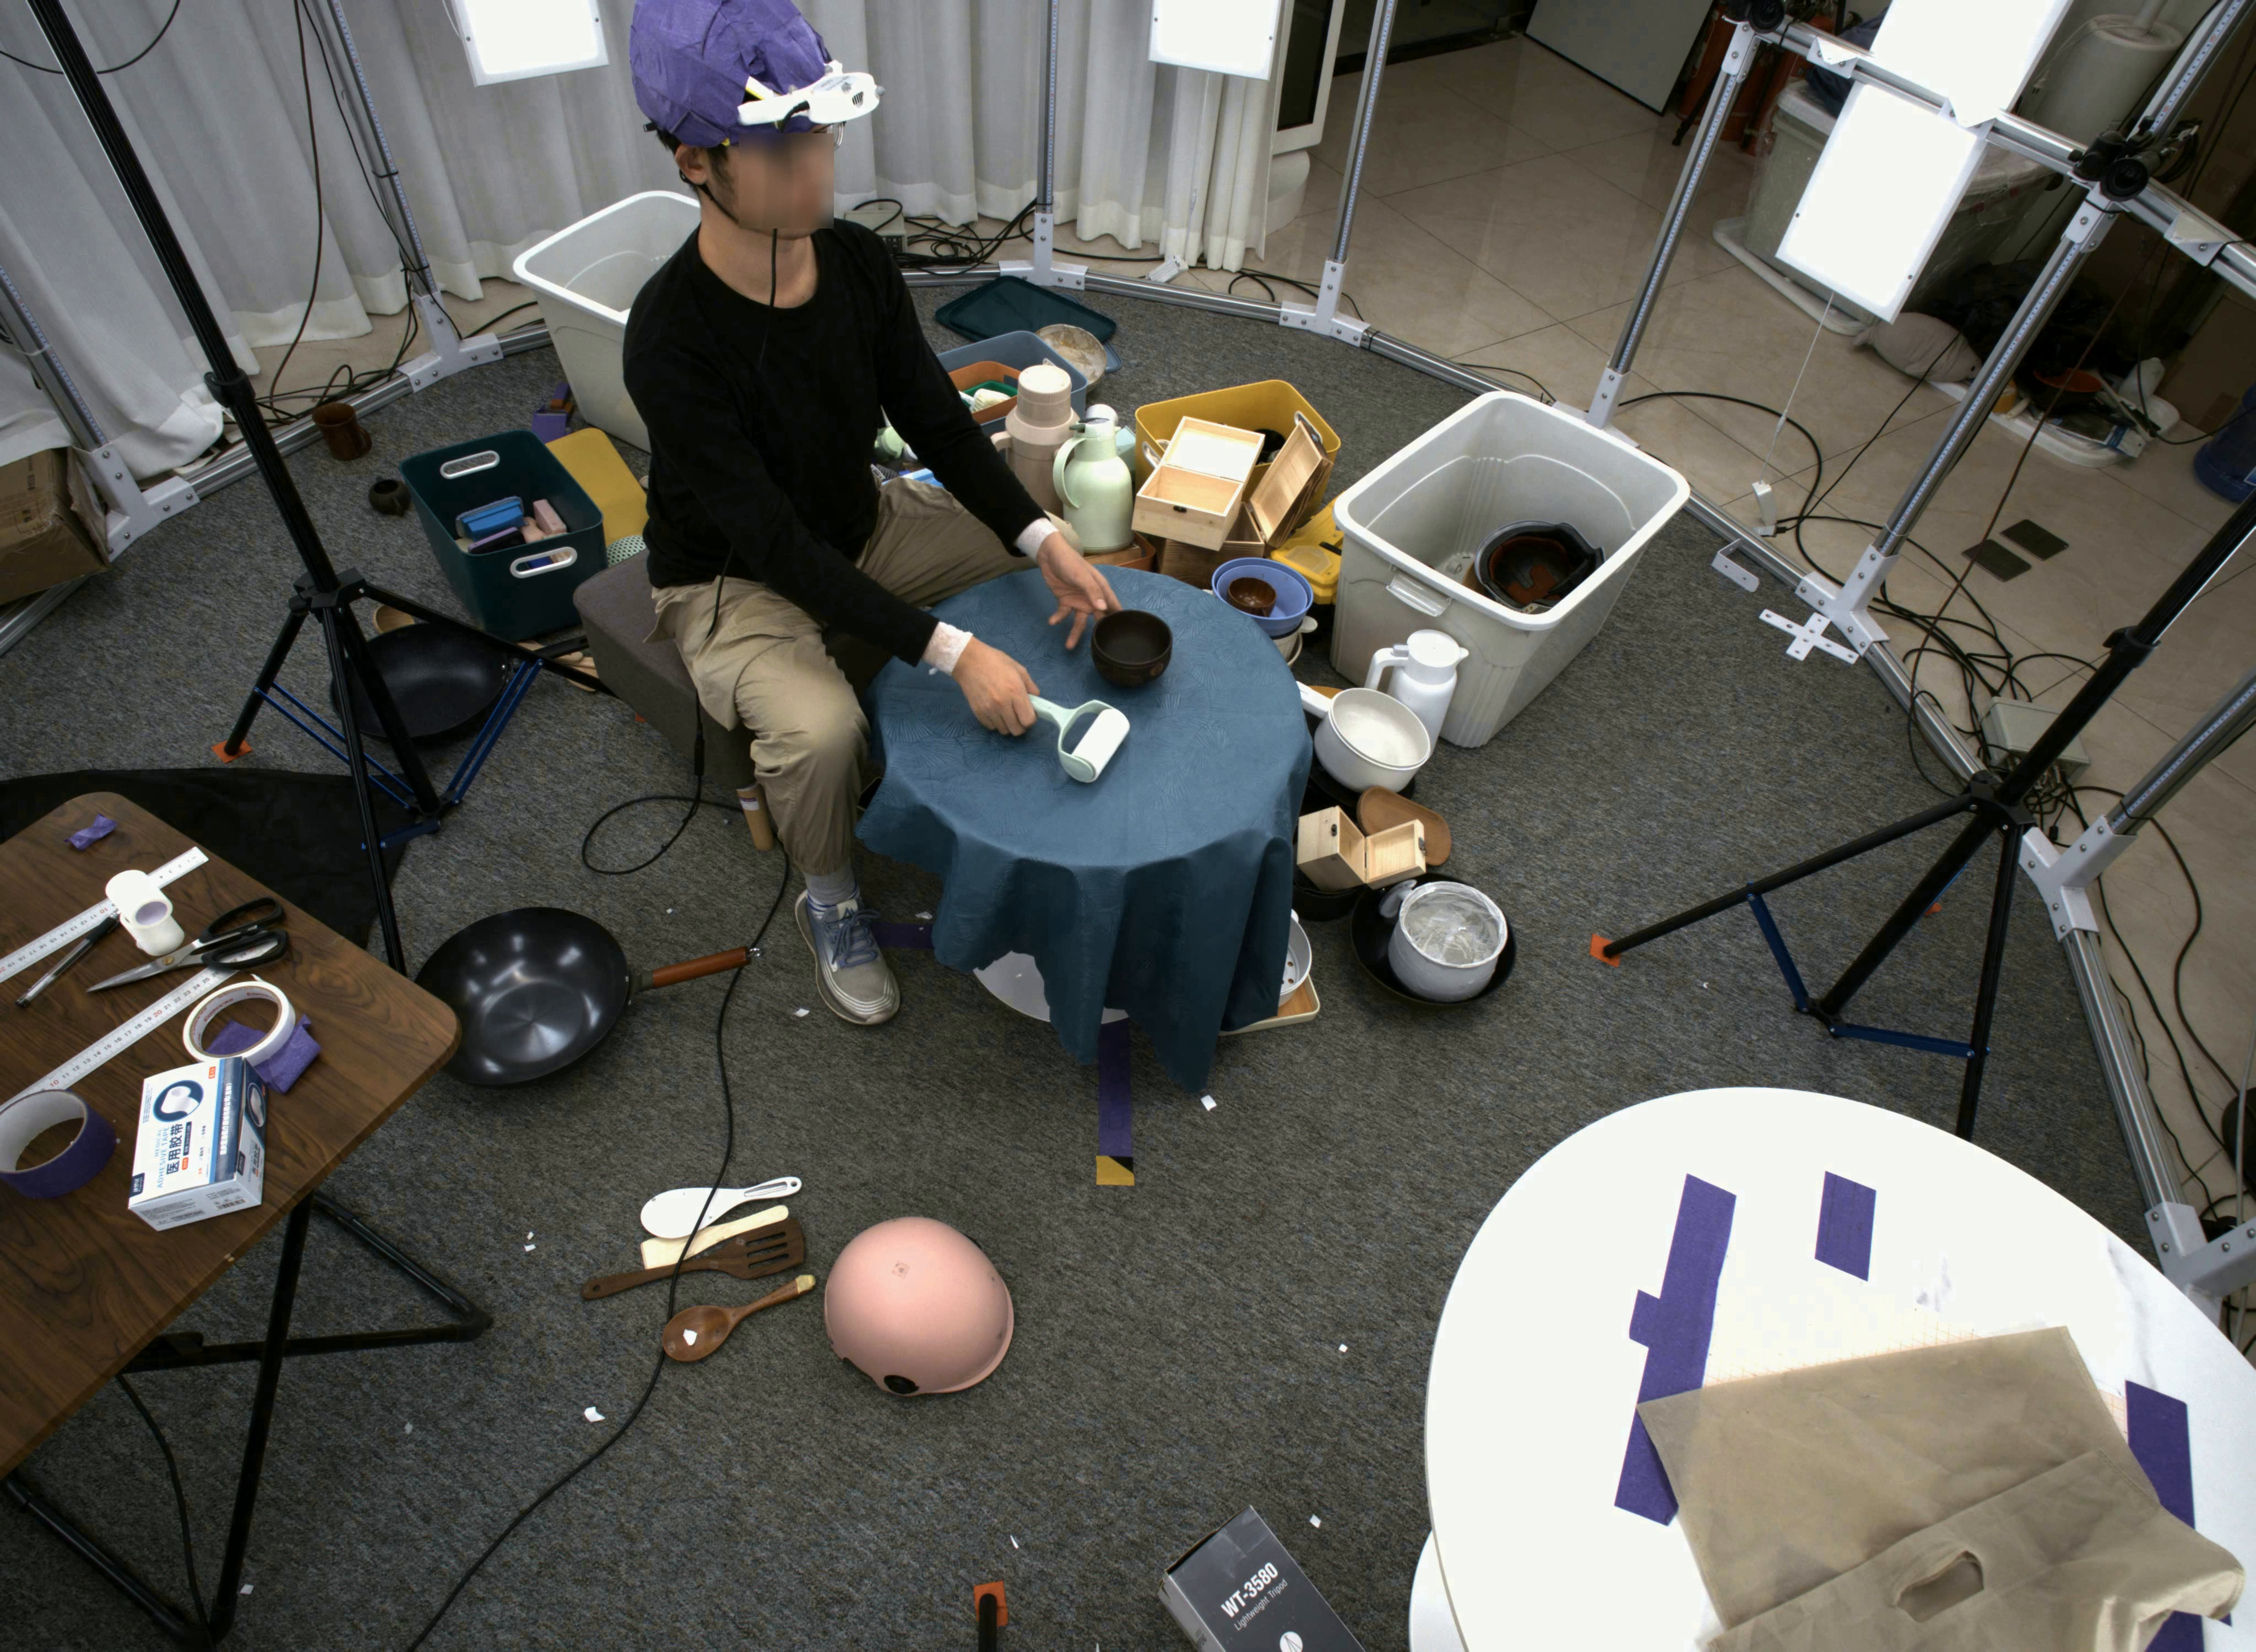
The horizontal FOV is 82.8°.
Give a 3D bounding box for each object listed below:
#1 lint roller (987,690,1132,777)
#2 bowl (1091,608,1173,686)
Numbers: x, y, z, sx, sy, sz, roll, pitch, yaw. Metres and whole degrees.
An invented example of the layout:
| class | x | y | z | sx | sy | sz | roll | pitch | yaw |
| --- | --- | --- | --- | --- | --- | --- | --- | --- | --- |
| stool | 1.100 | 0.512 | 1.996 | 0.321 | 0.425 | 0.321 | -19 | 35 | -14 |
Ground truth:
| class | x | y | z | sx | sy | sz | roll | pitch | yaw |
| --- | --- | --- | --- | --- | --- | --- | --- | --- | --- |
| lint roller | -0.101 | -0.149 | 1.747 | 0.198 | 0.047 | 0.118 | 27 | 53 | 9 |
| bowl | 0.005 | -0.248 | 1.839 | 0.118 | 0.068 | 0.121 | 1 | 50 | -1 |
